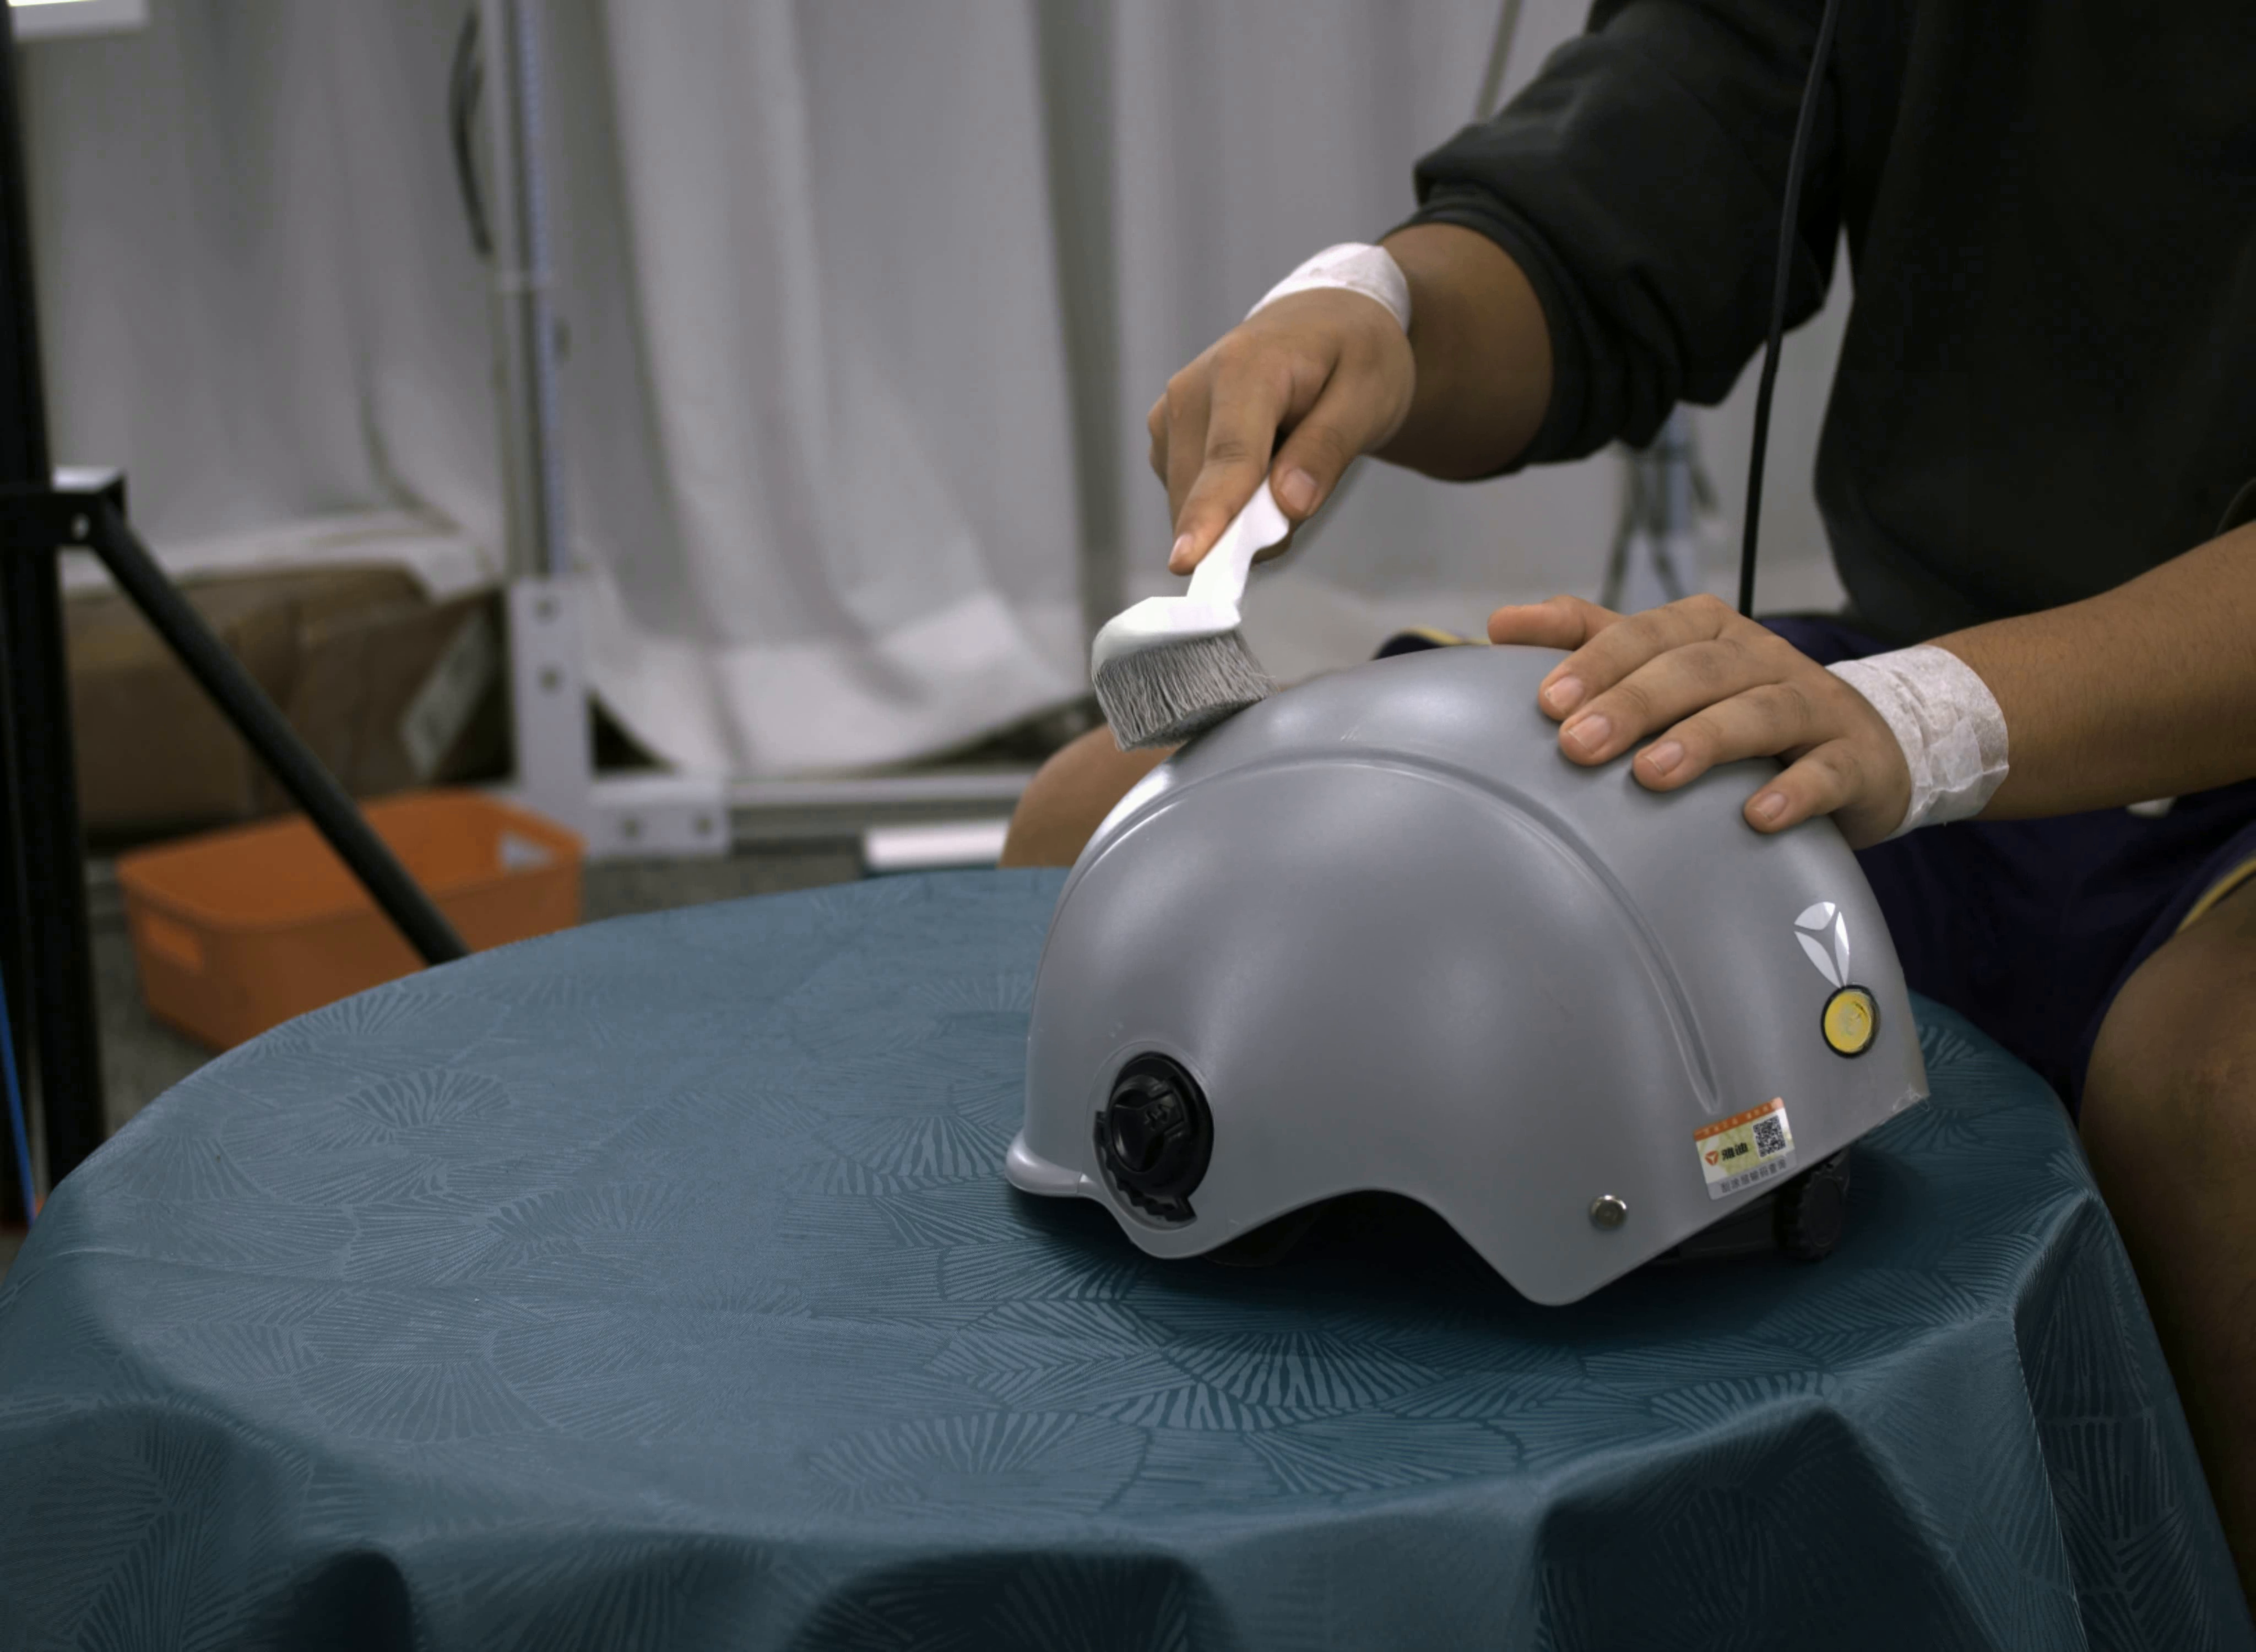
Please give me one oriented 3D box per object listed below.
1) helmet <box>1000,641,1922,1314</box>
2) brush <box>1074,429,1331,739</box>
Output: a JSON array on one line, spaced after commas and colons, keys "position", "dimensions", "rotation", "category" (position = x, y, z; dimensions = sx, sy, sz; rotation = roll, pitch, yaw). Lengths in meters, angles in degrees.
[{"position": [0.091, 0.031, 1.527], "dimensions": [0.282, 0.169, 0.227], "rotation": [7, 16, 35], "category": "helmet"}, {"position": [0.037, -0.073, 1.630], "dimensions": [0.035, 0.050, 0.241], "rotation": [-31, 7, 22], "category": "brush"}]
